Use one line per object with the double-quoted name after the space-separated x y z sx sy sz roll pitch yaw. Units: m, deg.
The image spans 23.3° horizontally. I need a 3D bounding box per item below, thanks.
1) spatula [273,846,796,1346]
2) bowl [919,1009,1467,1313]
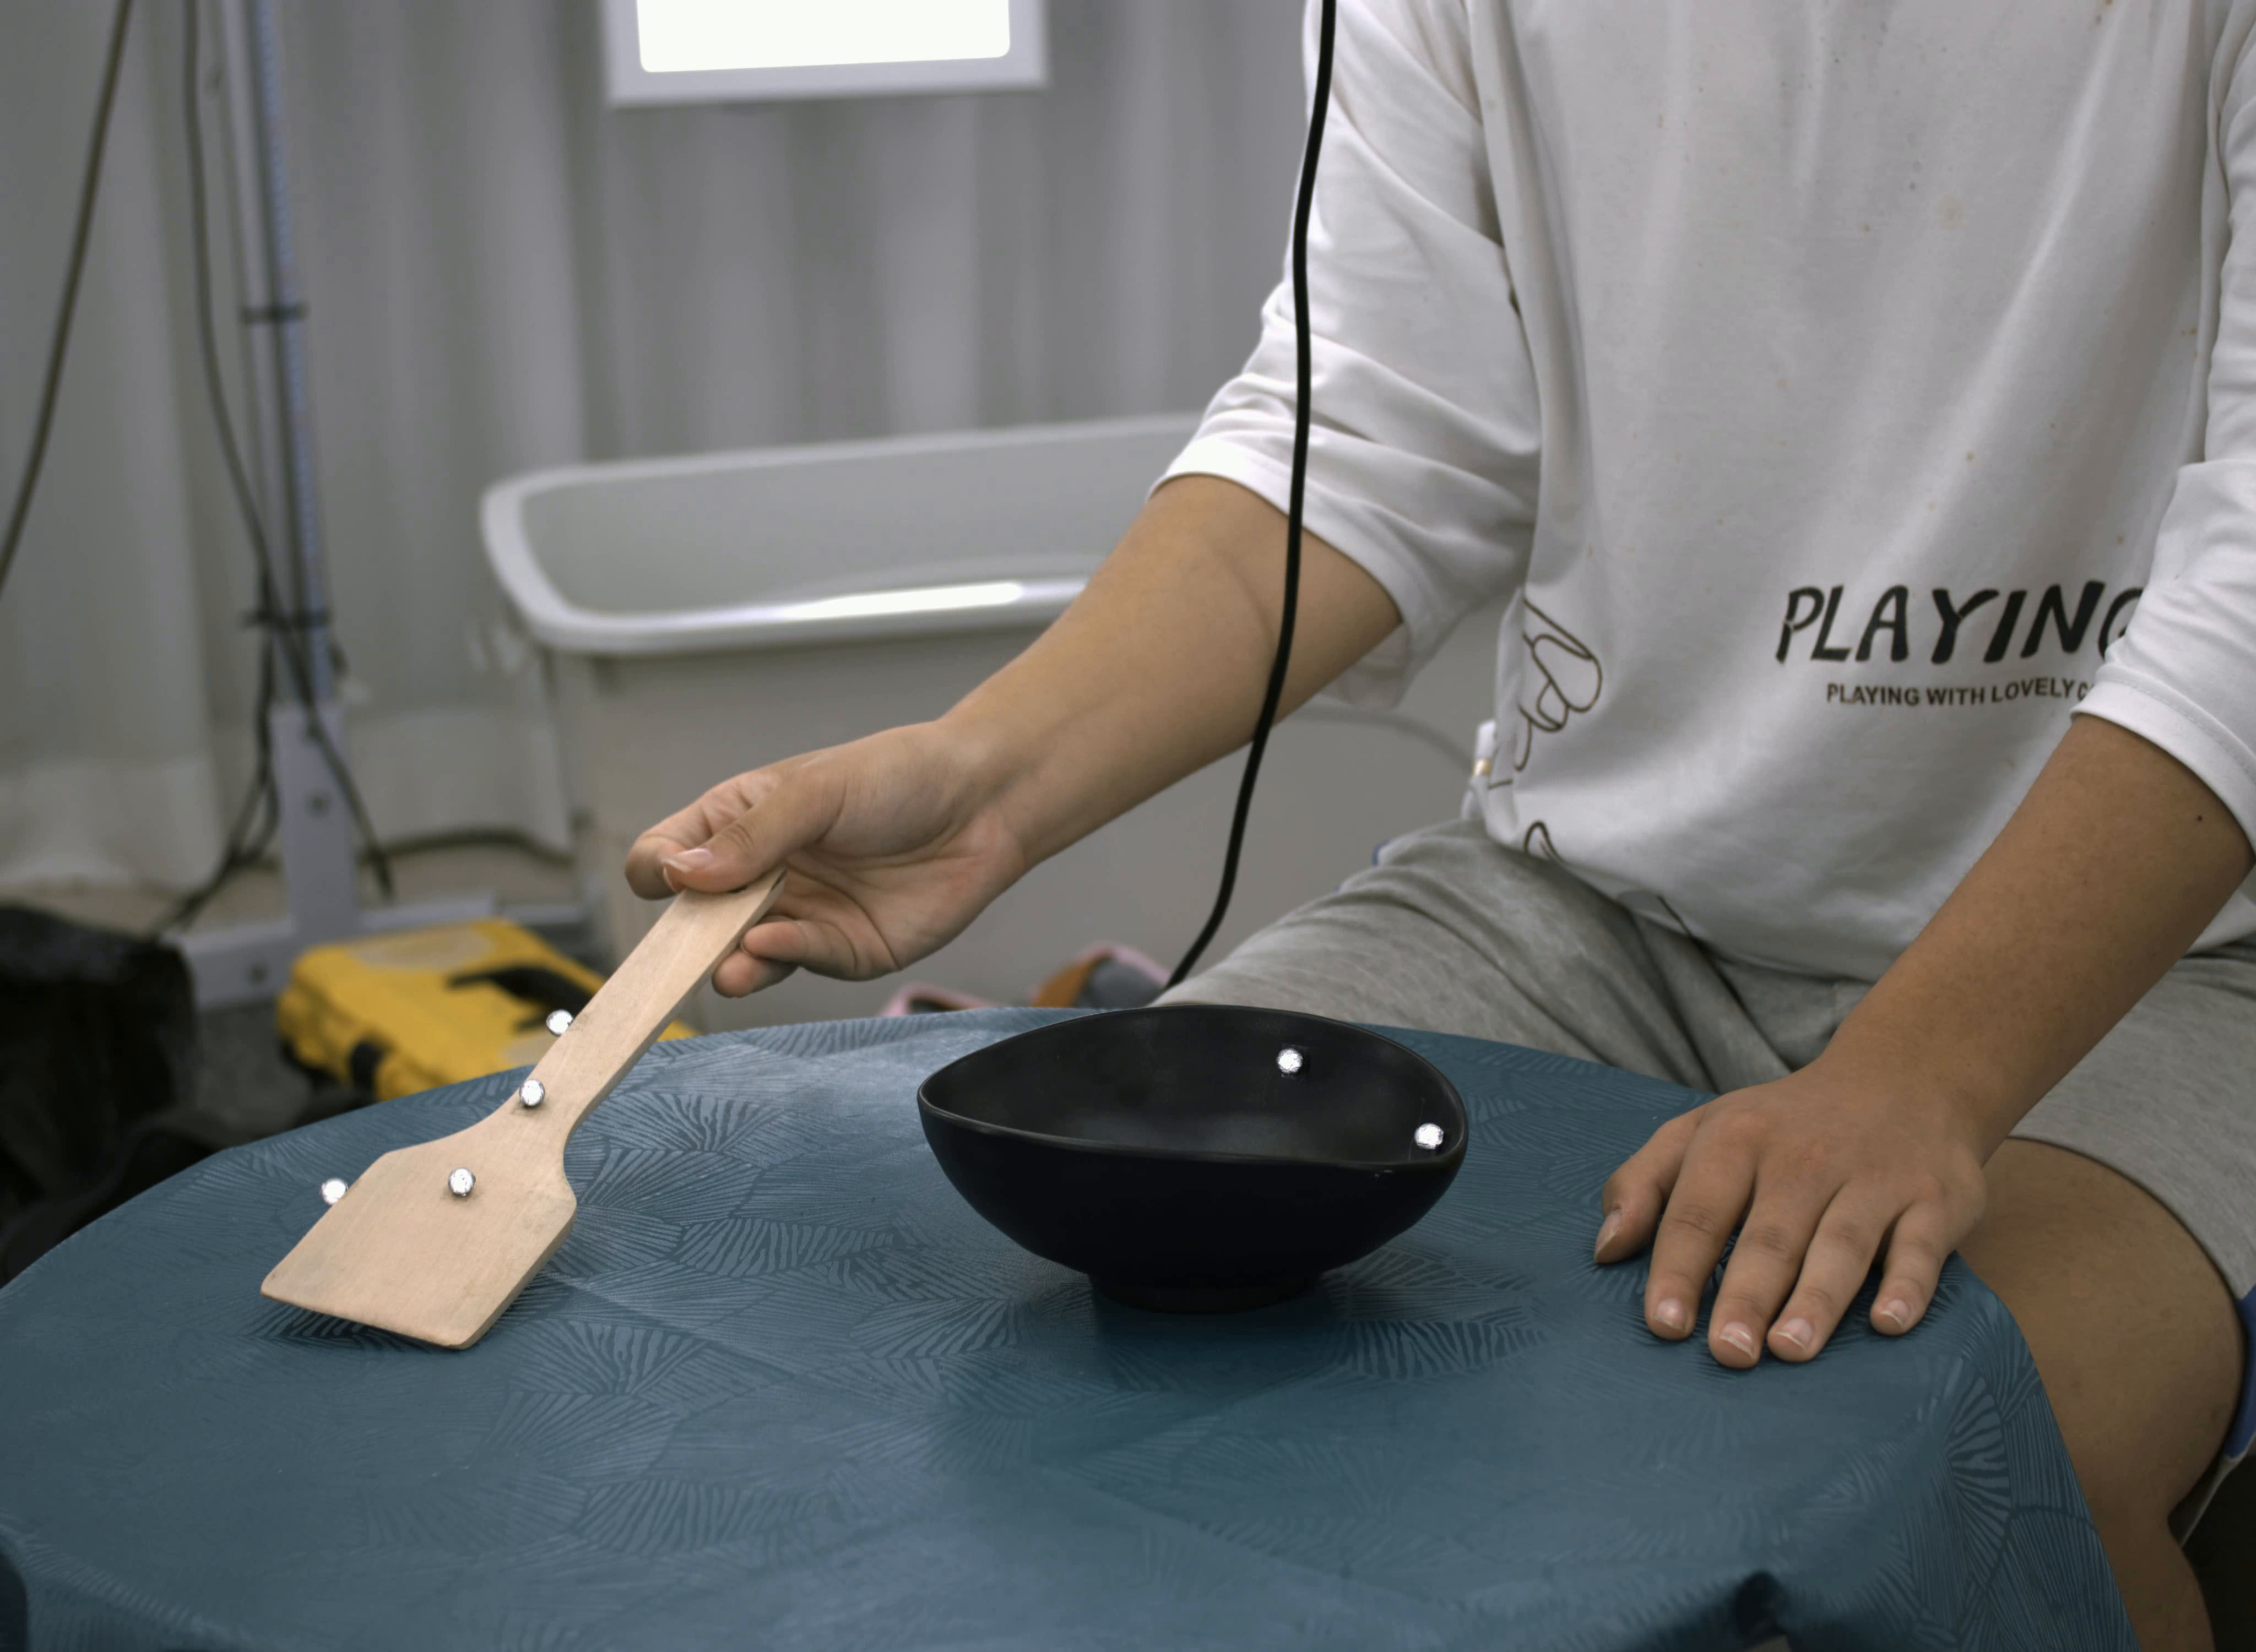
-0.174 0.078 1.734 0.072 0.010 0.295 12 32 17 "spatula"
0.020 0.104 1.632 0.170 0.066 0.138 5 16 21 "bowl"
